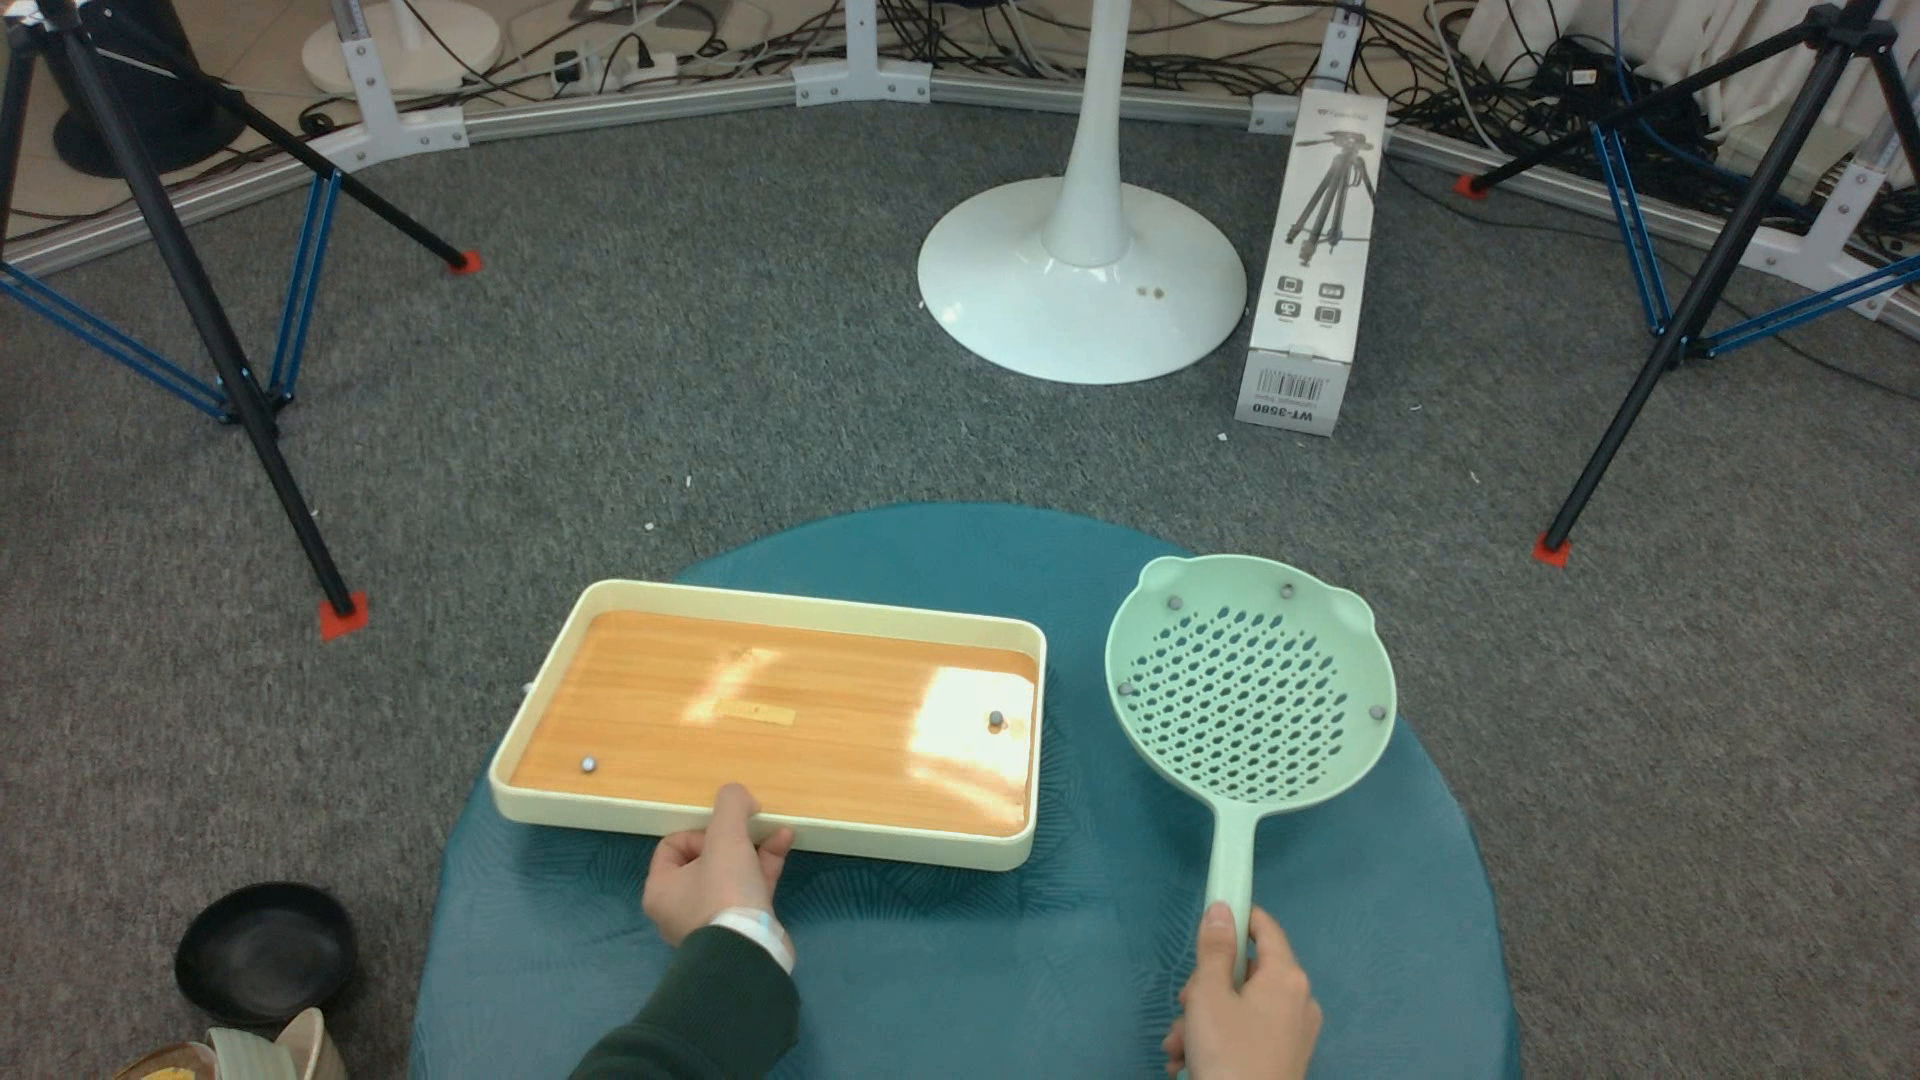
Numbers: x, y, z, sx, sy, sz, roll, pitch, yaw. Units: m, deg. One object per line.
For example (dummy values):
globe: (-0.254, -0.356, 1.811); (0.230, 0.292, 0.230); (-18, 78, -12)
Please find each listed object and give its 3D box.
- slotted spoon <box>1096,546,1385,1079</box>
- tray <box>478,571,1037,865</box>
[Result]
slotted spoon: (0.142, 0.156, 0.751); (0.169, 0.075, 0.361); (11, 46, 5)
tray: (-0.107, 0.098, 0.815); (0.300, 0.027, 0.192); (6, 36, 2)
